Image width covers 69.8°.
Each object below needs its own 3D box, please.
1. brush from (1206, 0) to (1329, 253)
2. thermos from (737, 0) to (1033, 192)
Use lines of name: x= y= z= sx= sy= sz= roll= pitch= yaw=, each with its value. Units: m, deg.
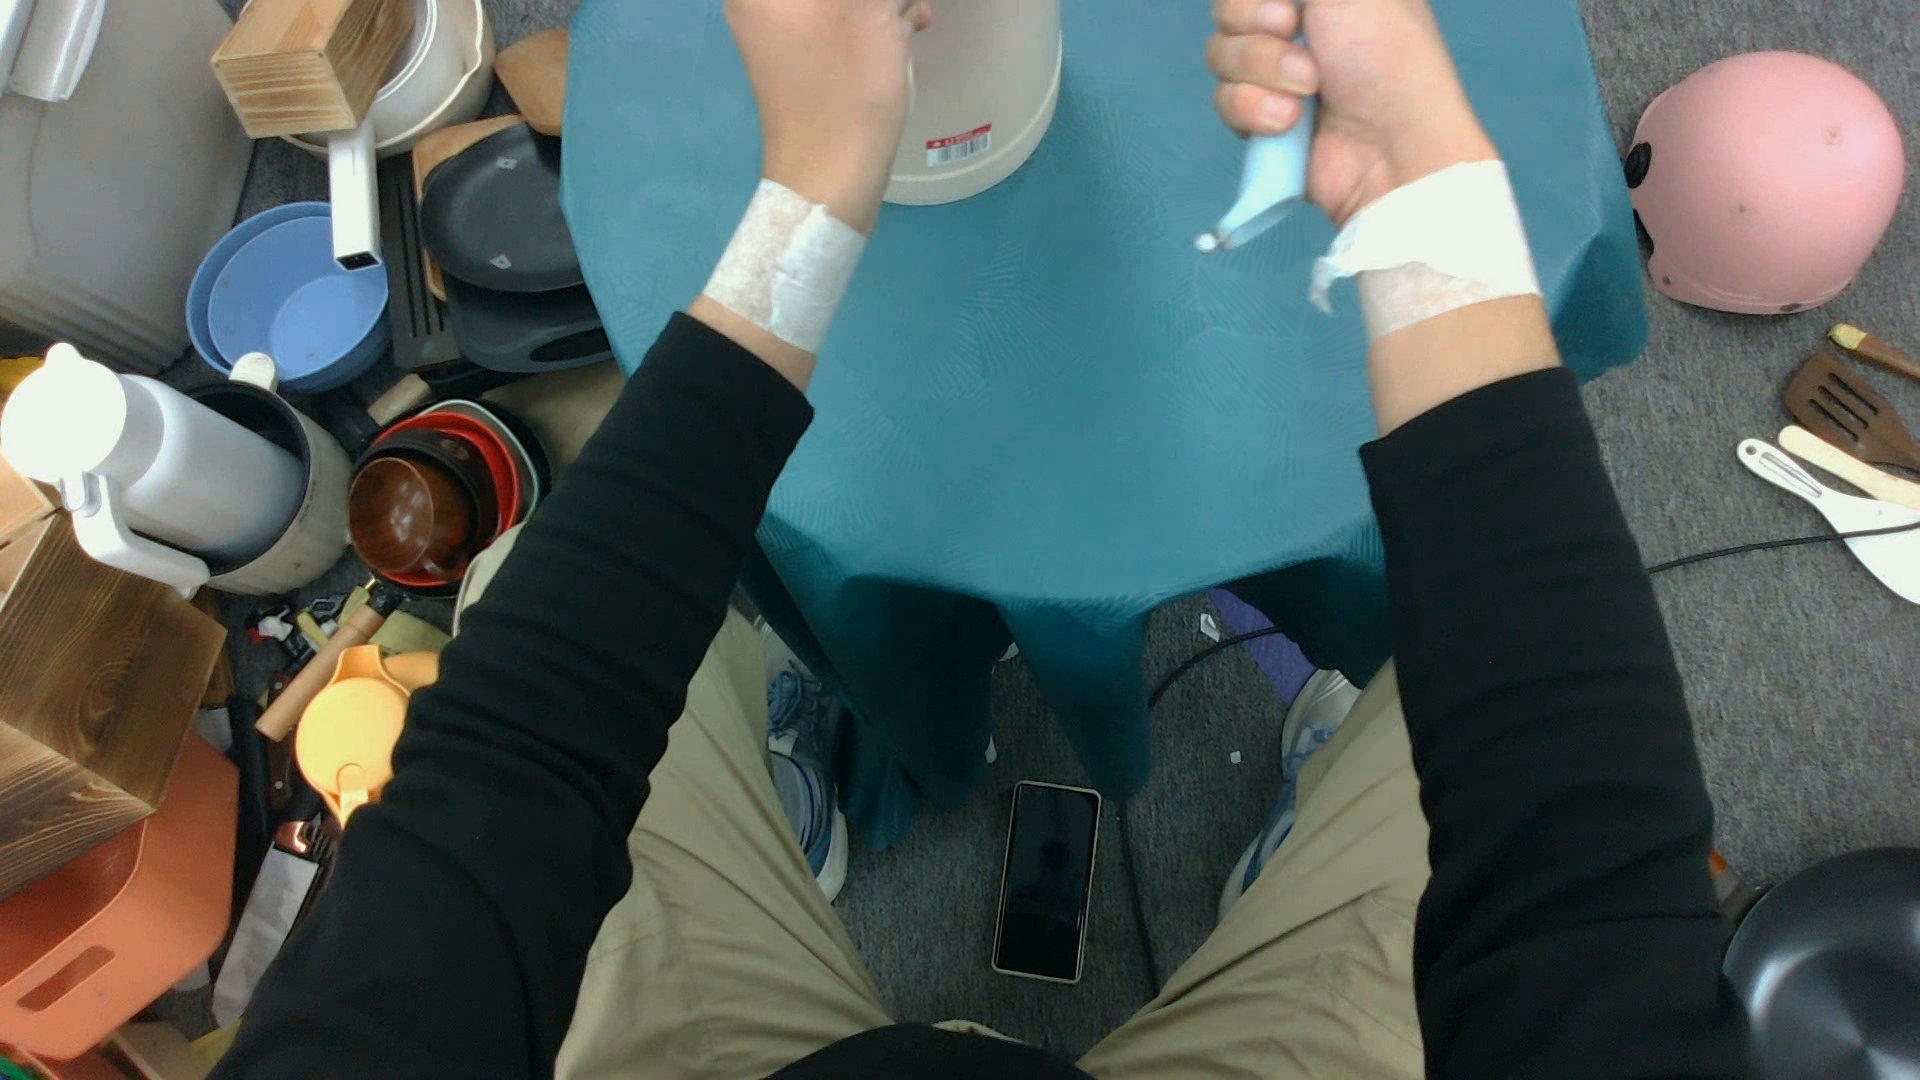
brush: x=0.103 y=-0.275 z=0.542 sx=0.083 sy=0.084 sz=0.325 roll=13 pitch=86 yaw=-36
thermos: x=-0.045 y=-0.305 z=0.612 sx=0.175 sy=0.405 sz=0.207 roll=3 pitch=77 yaw=1
